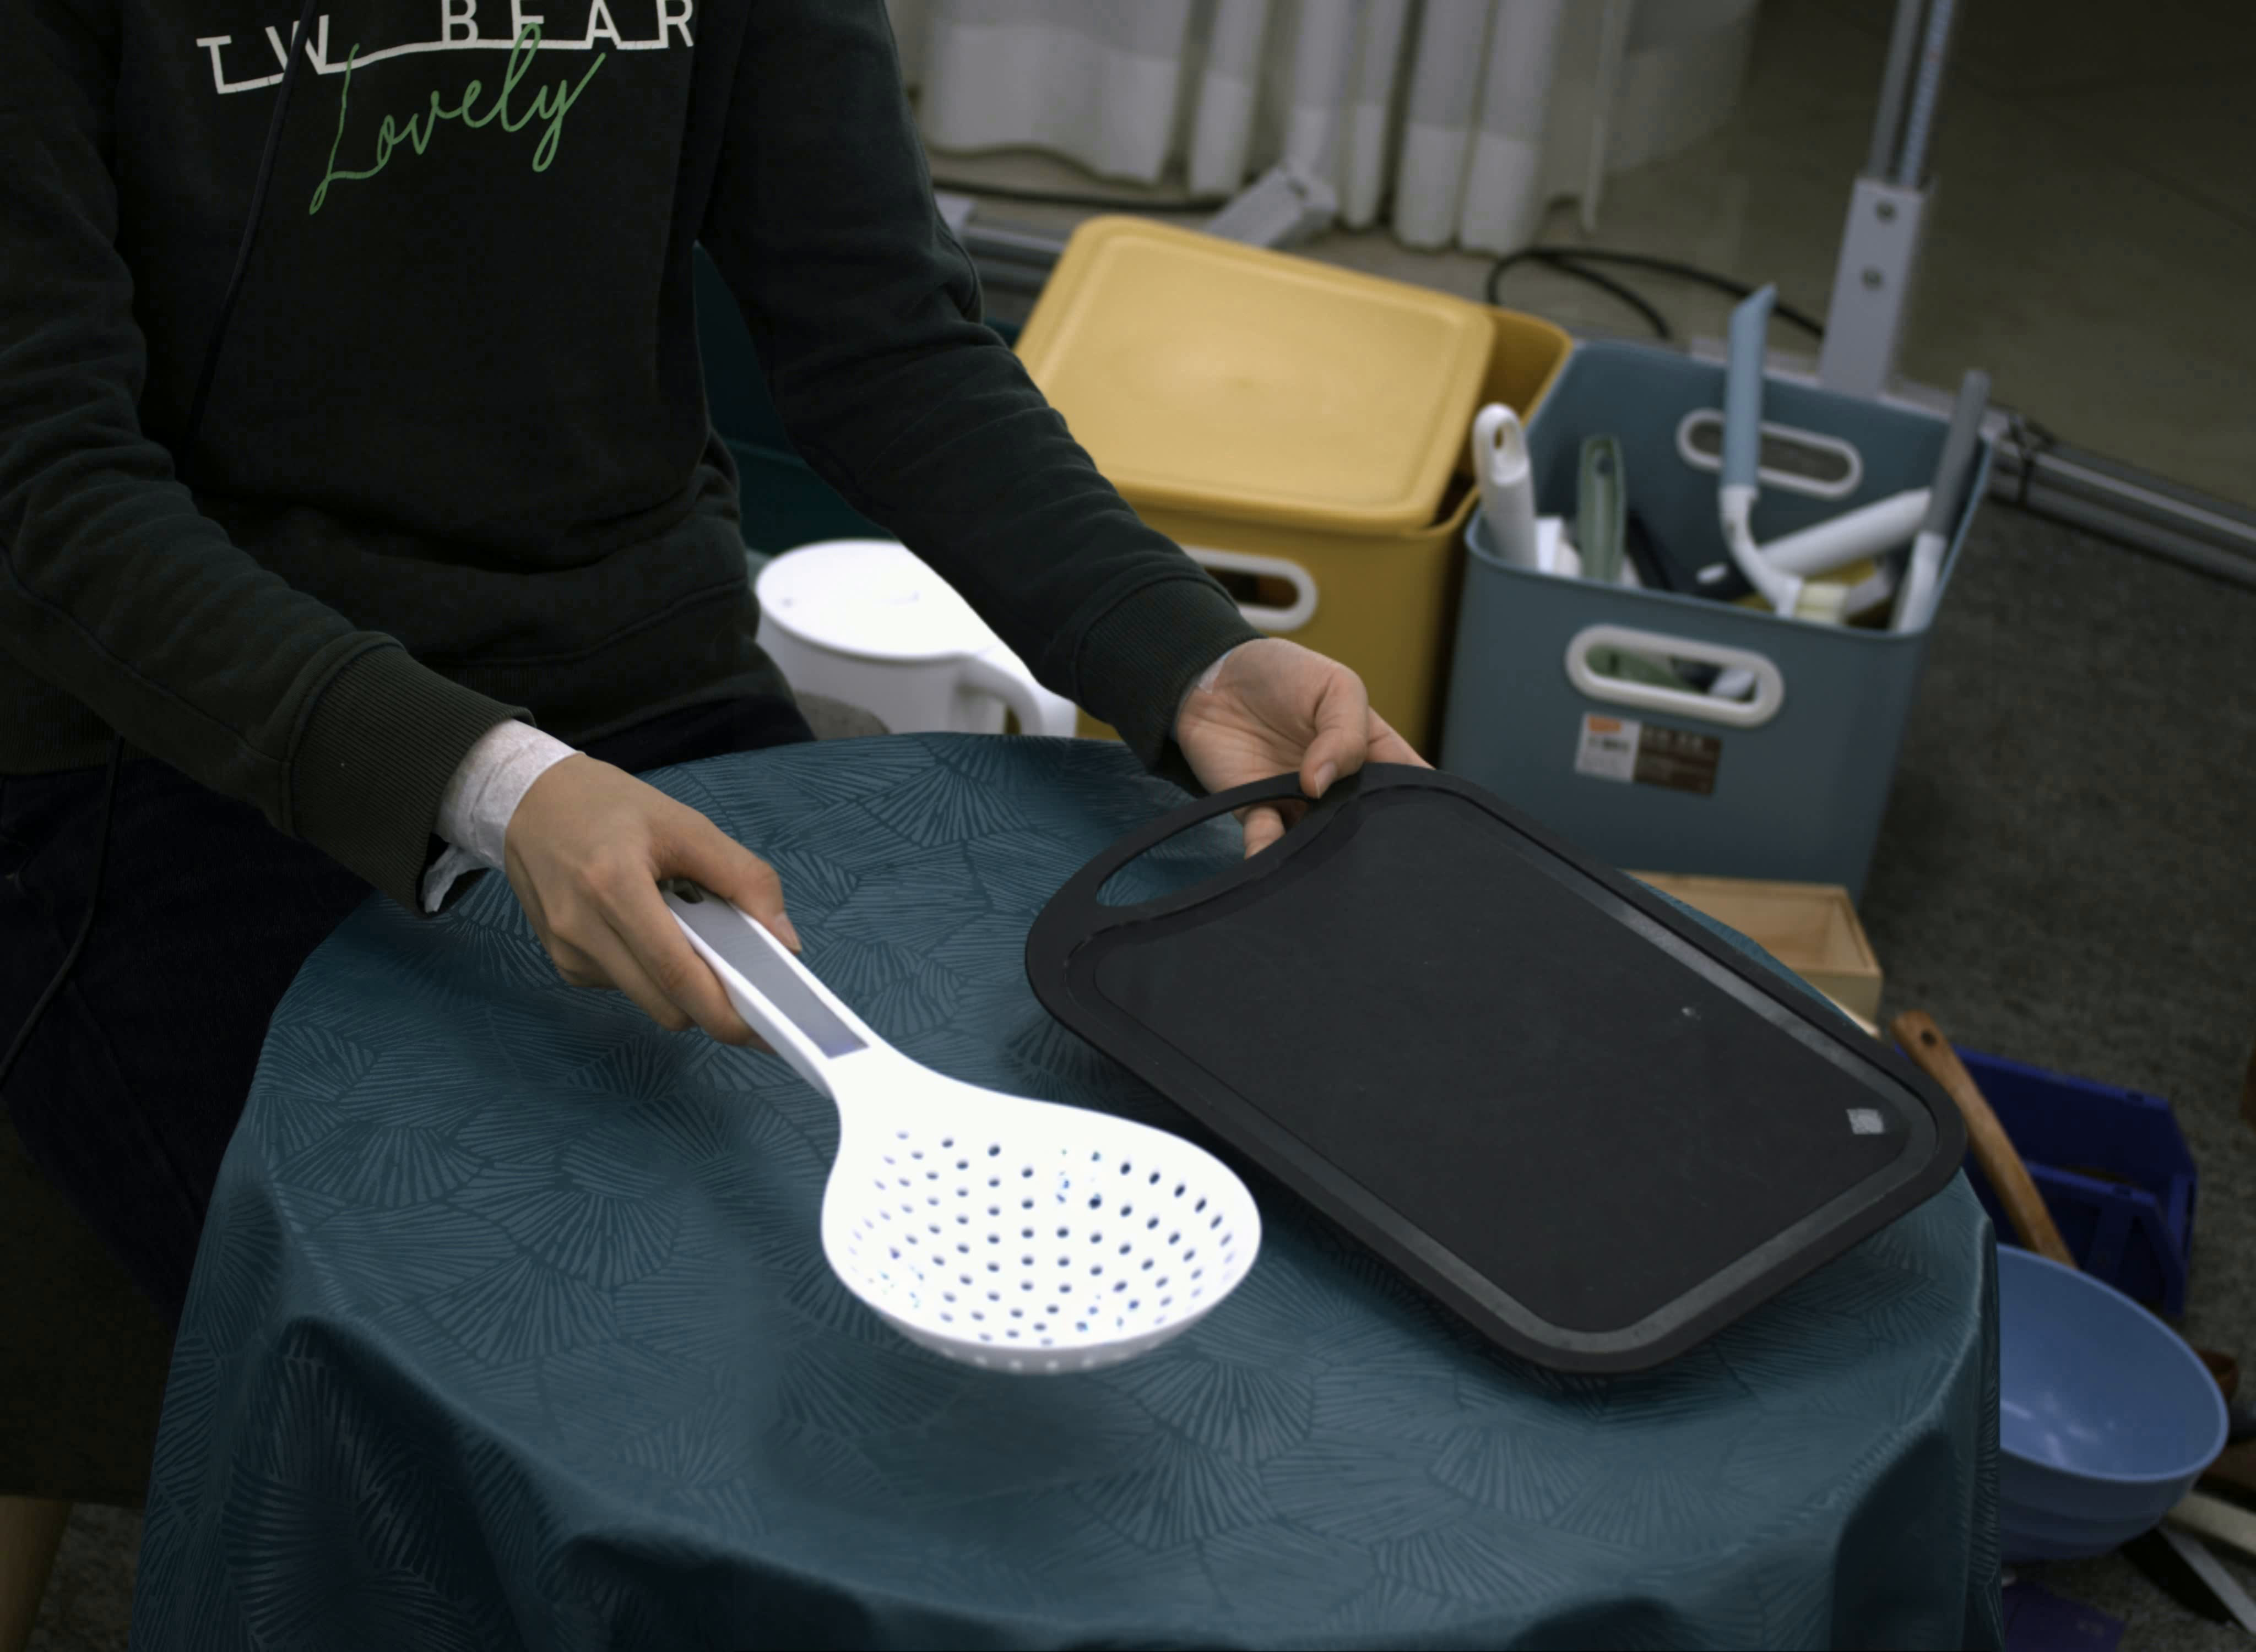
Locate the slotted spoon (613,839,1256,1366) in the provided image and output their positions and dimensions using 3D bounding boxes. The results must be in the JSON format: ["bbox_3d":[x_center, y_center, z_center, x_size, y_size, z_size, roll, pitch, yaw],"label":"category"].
[{"bbox_3d":[-0.083,0.083,1.730,0.135,0.045,0.353,-14,35,-27],"label":"slotted spoon"}]

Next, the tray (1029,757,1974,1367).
[{"bbox_3d":[0.119,0.070,1.839,0.210,0.010,0.328,-27,45,-32],"label":"tray"}]
